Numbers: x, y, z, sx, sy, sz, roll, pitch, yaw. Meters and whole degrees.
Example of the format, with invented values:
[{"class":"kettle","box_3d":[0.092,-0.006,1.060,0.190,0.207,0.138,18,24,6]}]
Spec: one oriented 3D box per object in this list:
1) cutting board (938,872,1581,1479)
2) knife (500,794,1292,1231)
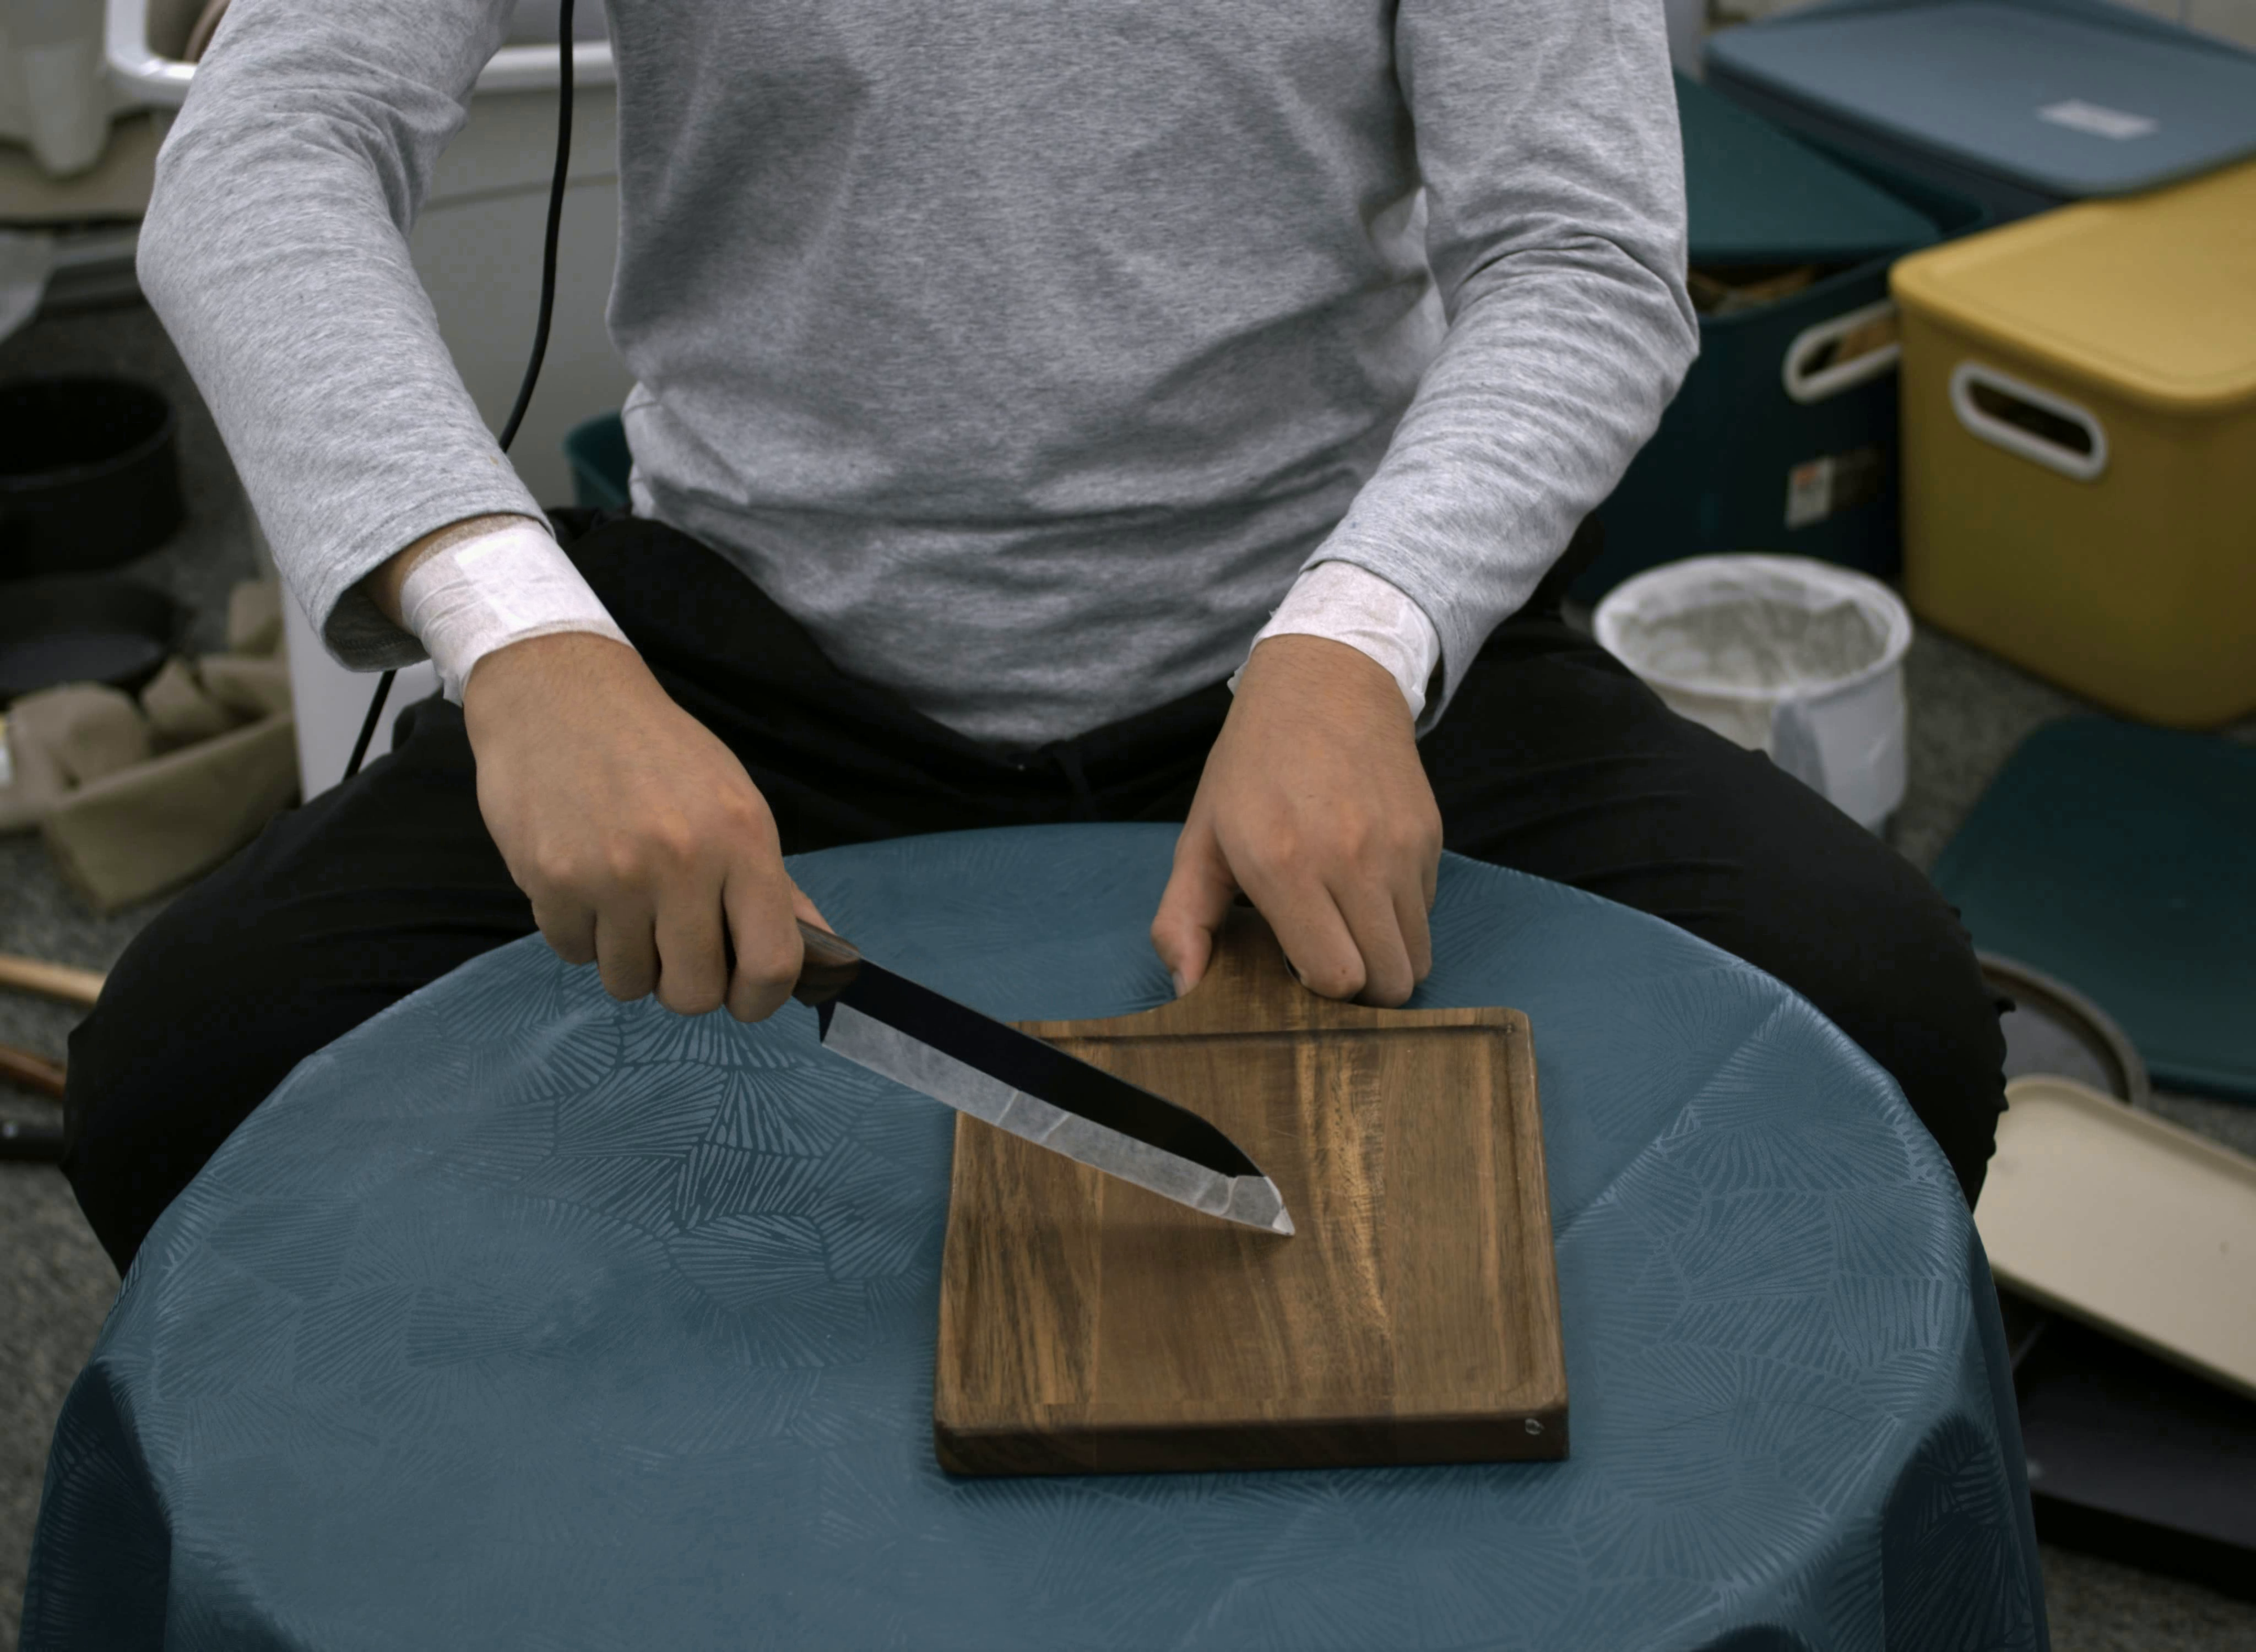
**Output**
[{"class":"cutting board","box_3d":[0.041,0.107,1.864,0.200,0.023,0.357,-1,27,2]},{"class":"knife","box_3d":[-0.075,0.062,1.811,0.288,0.049,0.020,27,42,5]}]
